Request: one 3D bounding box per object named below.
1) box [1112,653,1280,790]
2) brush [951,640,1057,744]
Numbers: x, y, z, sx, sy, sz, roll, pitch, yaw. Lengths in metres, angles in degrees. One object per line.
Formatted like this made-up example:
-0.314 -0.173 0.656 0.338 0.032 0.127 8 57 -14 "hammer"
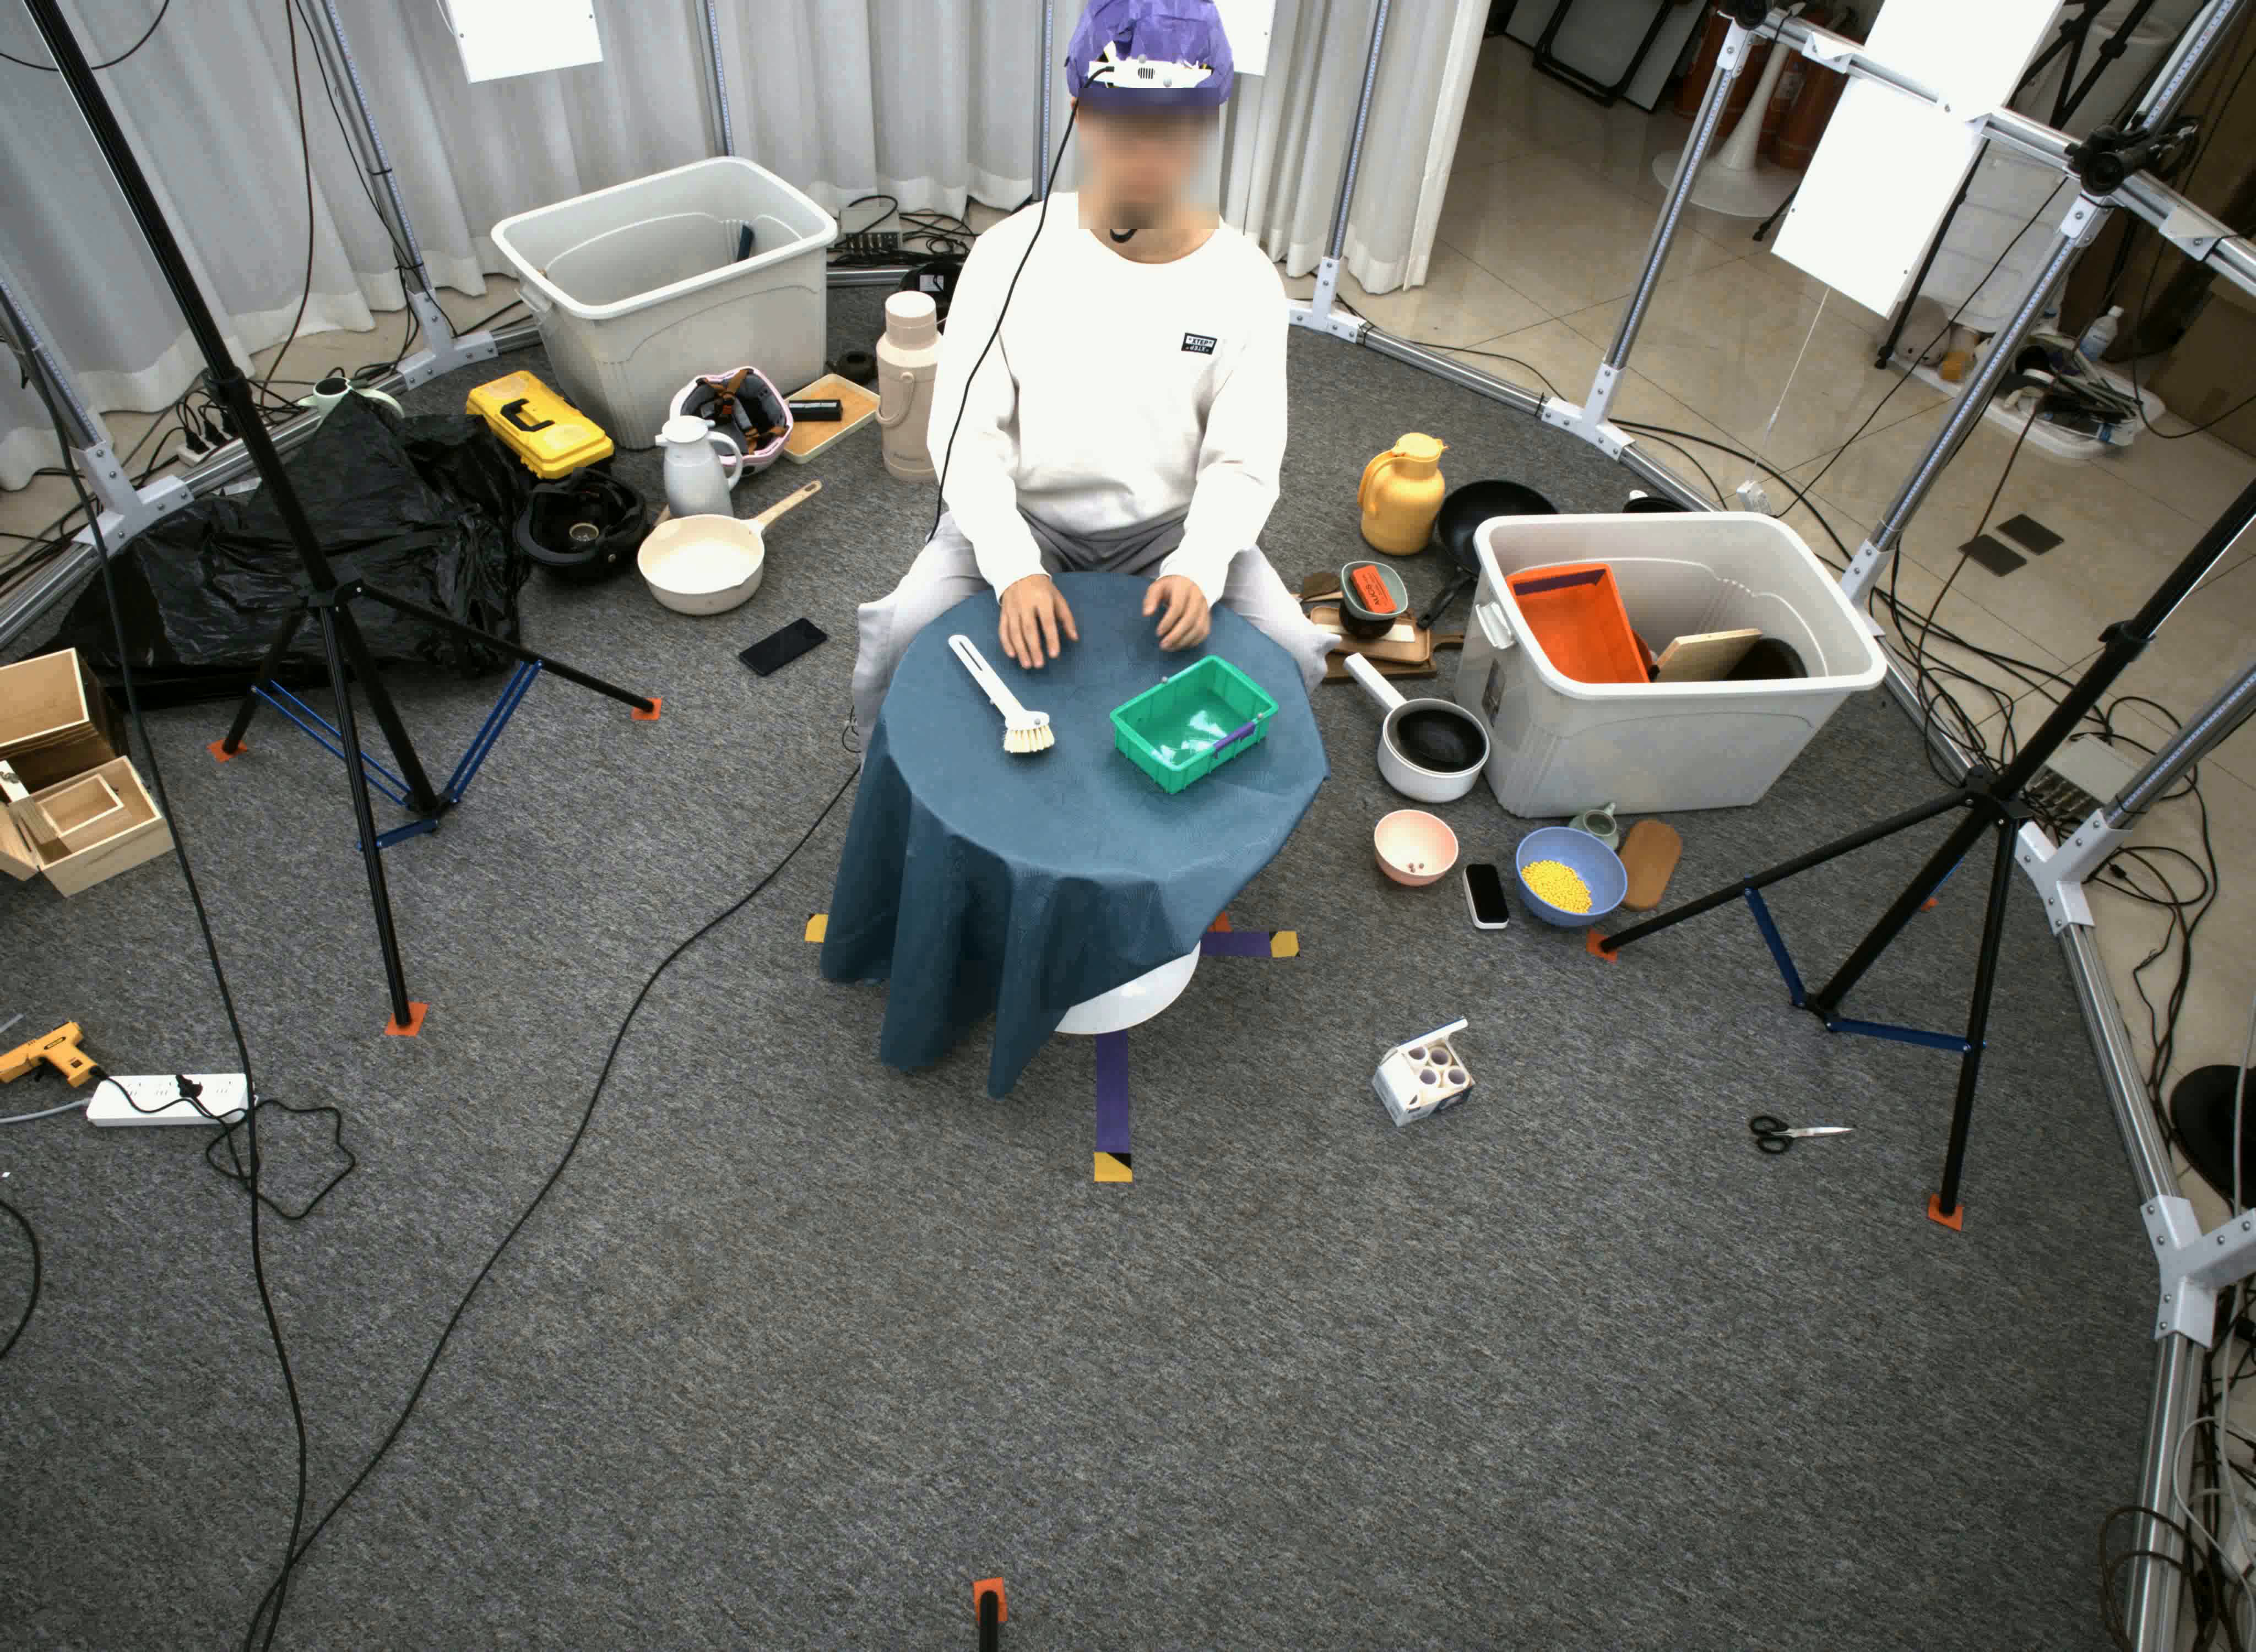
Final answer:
0.091 -0.142 1.753 0.212 0.064 0.141 -32 58 -30 "box"
-0.181 -0.185 1.801 0.068 0.055 0.272 -9 34 -33 "brush"
